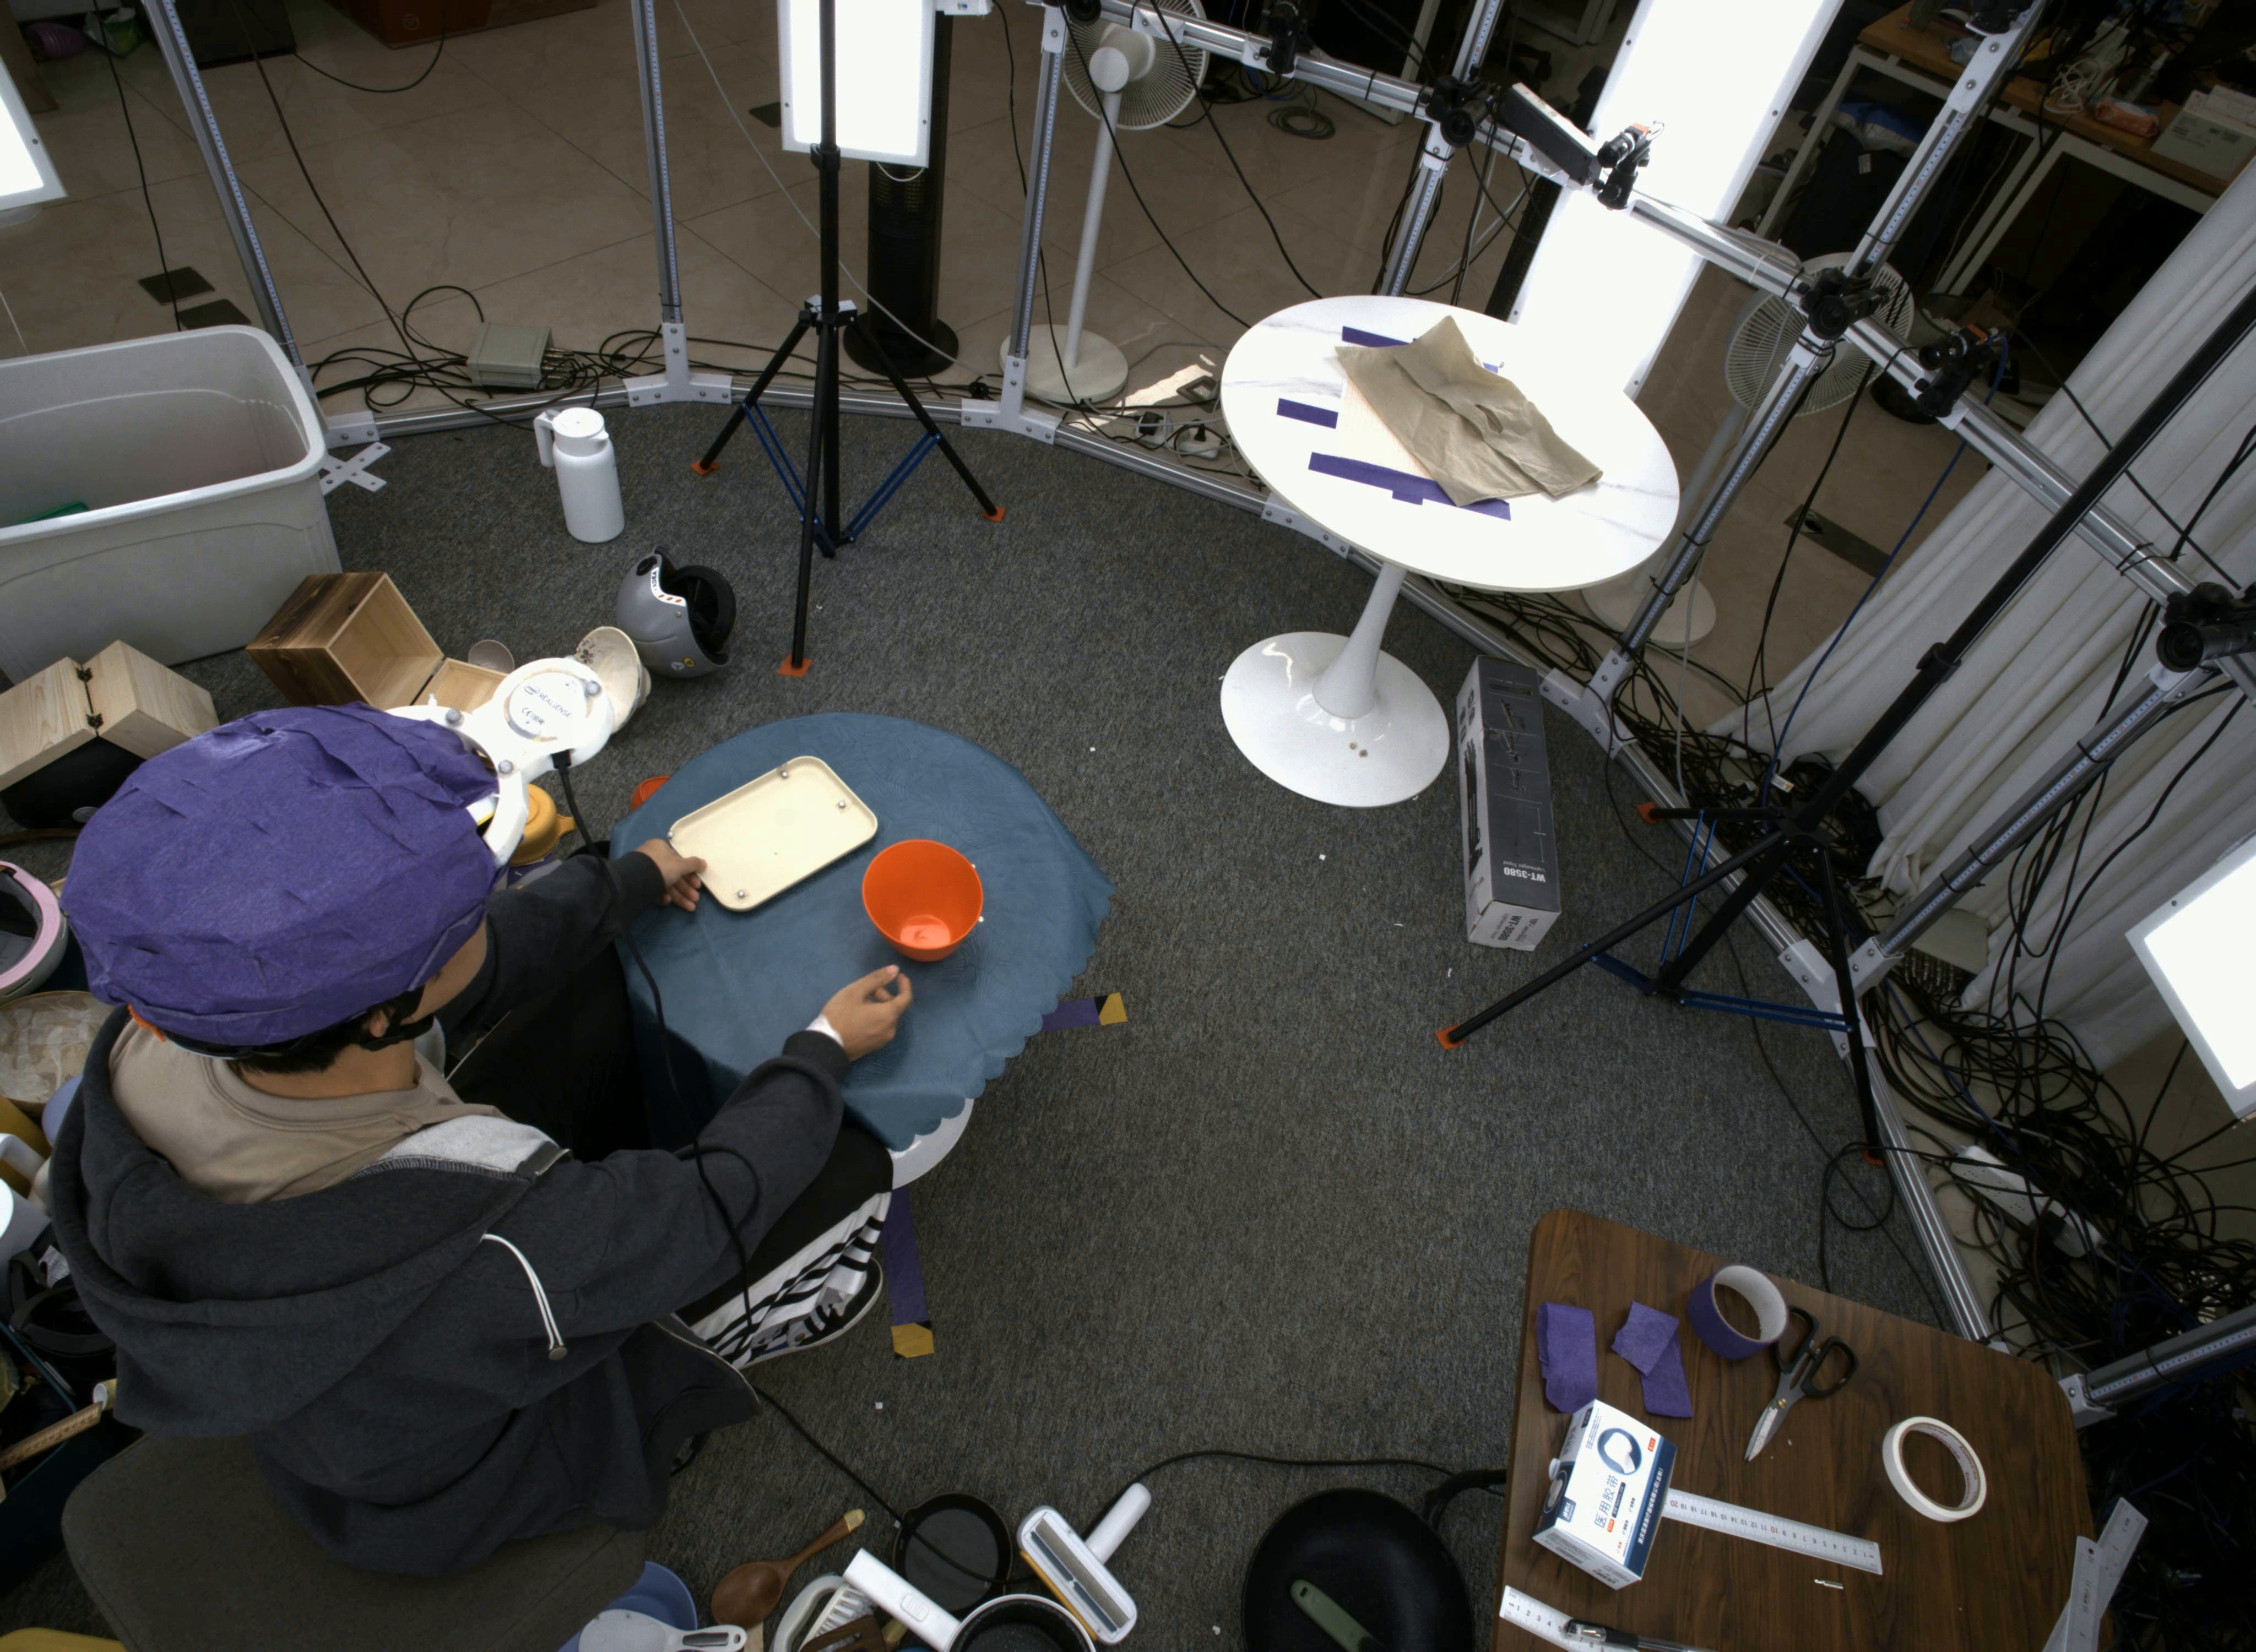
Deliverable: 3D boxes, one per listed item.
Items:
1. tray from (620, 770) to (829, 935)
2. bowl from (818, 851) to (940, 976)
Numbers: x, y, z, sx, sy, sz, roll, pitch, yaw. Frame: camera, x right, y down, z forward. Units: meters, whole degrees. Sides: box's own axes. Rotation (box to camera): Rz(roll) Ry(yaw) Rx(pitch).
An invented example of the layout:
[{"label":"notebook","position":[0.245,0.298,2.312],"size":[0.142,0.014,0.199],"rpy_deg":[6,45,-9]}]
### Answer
[{"label":"tray","position":[-0.521,0.031,1.670],"size":[0.167,0.018,0.240],"rpy_deg":[42,55,16]},{"label":"bowl","position":[-0.307,0.119,1.605],"size":[0.148,0.107,0.145],"rpy_deg":[8,51,-8]}]
